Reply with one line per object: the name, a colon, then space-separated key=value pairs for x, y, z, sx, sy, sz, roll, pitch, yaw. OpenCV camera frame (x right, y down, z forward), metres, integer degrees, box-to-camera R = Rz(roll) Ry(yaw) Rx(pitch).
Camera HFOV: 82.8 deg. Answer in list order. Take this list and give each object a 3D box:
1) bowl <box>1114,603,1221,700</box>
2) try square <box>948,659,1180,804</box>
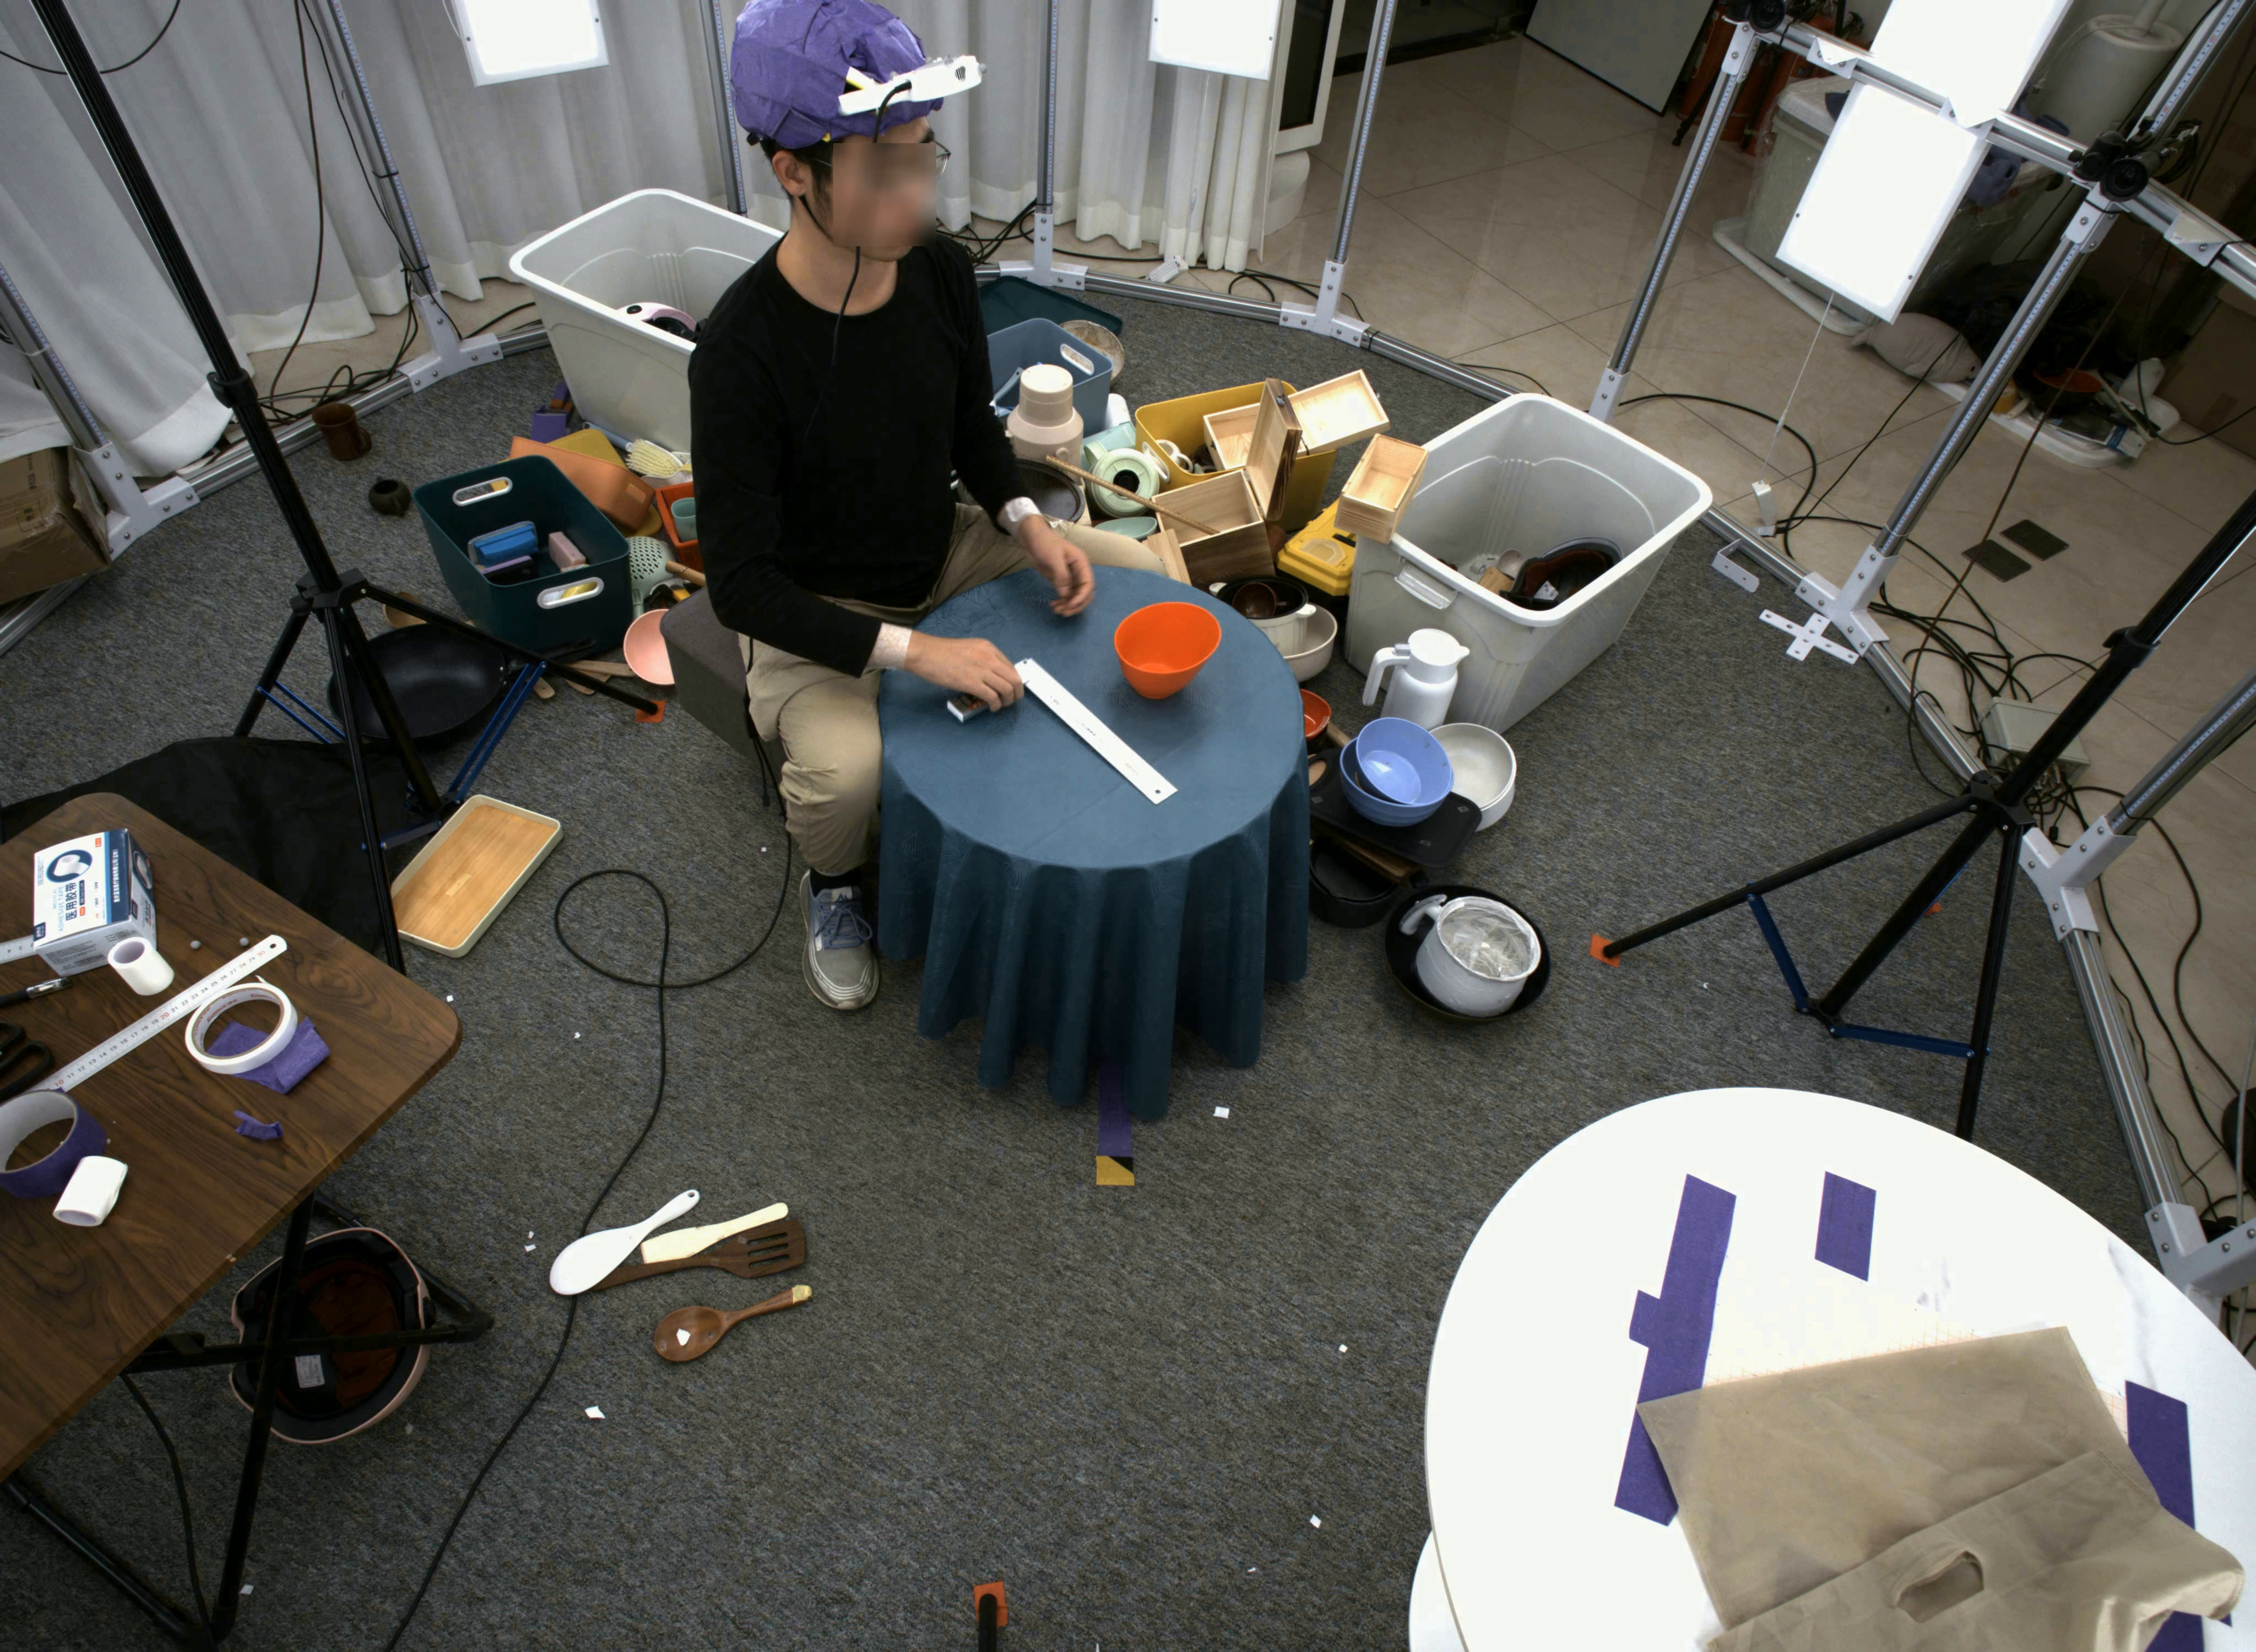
bowl: x=0.052 y=-0.236 z=1.813 sx=0.148 sy=0.102 sz=0.152 roll=1 pitch=50 yaw=-2
try square: x=-0.091 y=-0.106 z=1.751 sx=0.153 sy=0.015 sz=0.318 roll=-35 pitch=62 yaw=-25
